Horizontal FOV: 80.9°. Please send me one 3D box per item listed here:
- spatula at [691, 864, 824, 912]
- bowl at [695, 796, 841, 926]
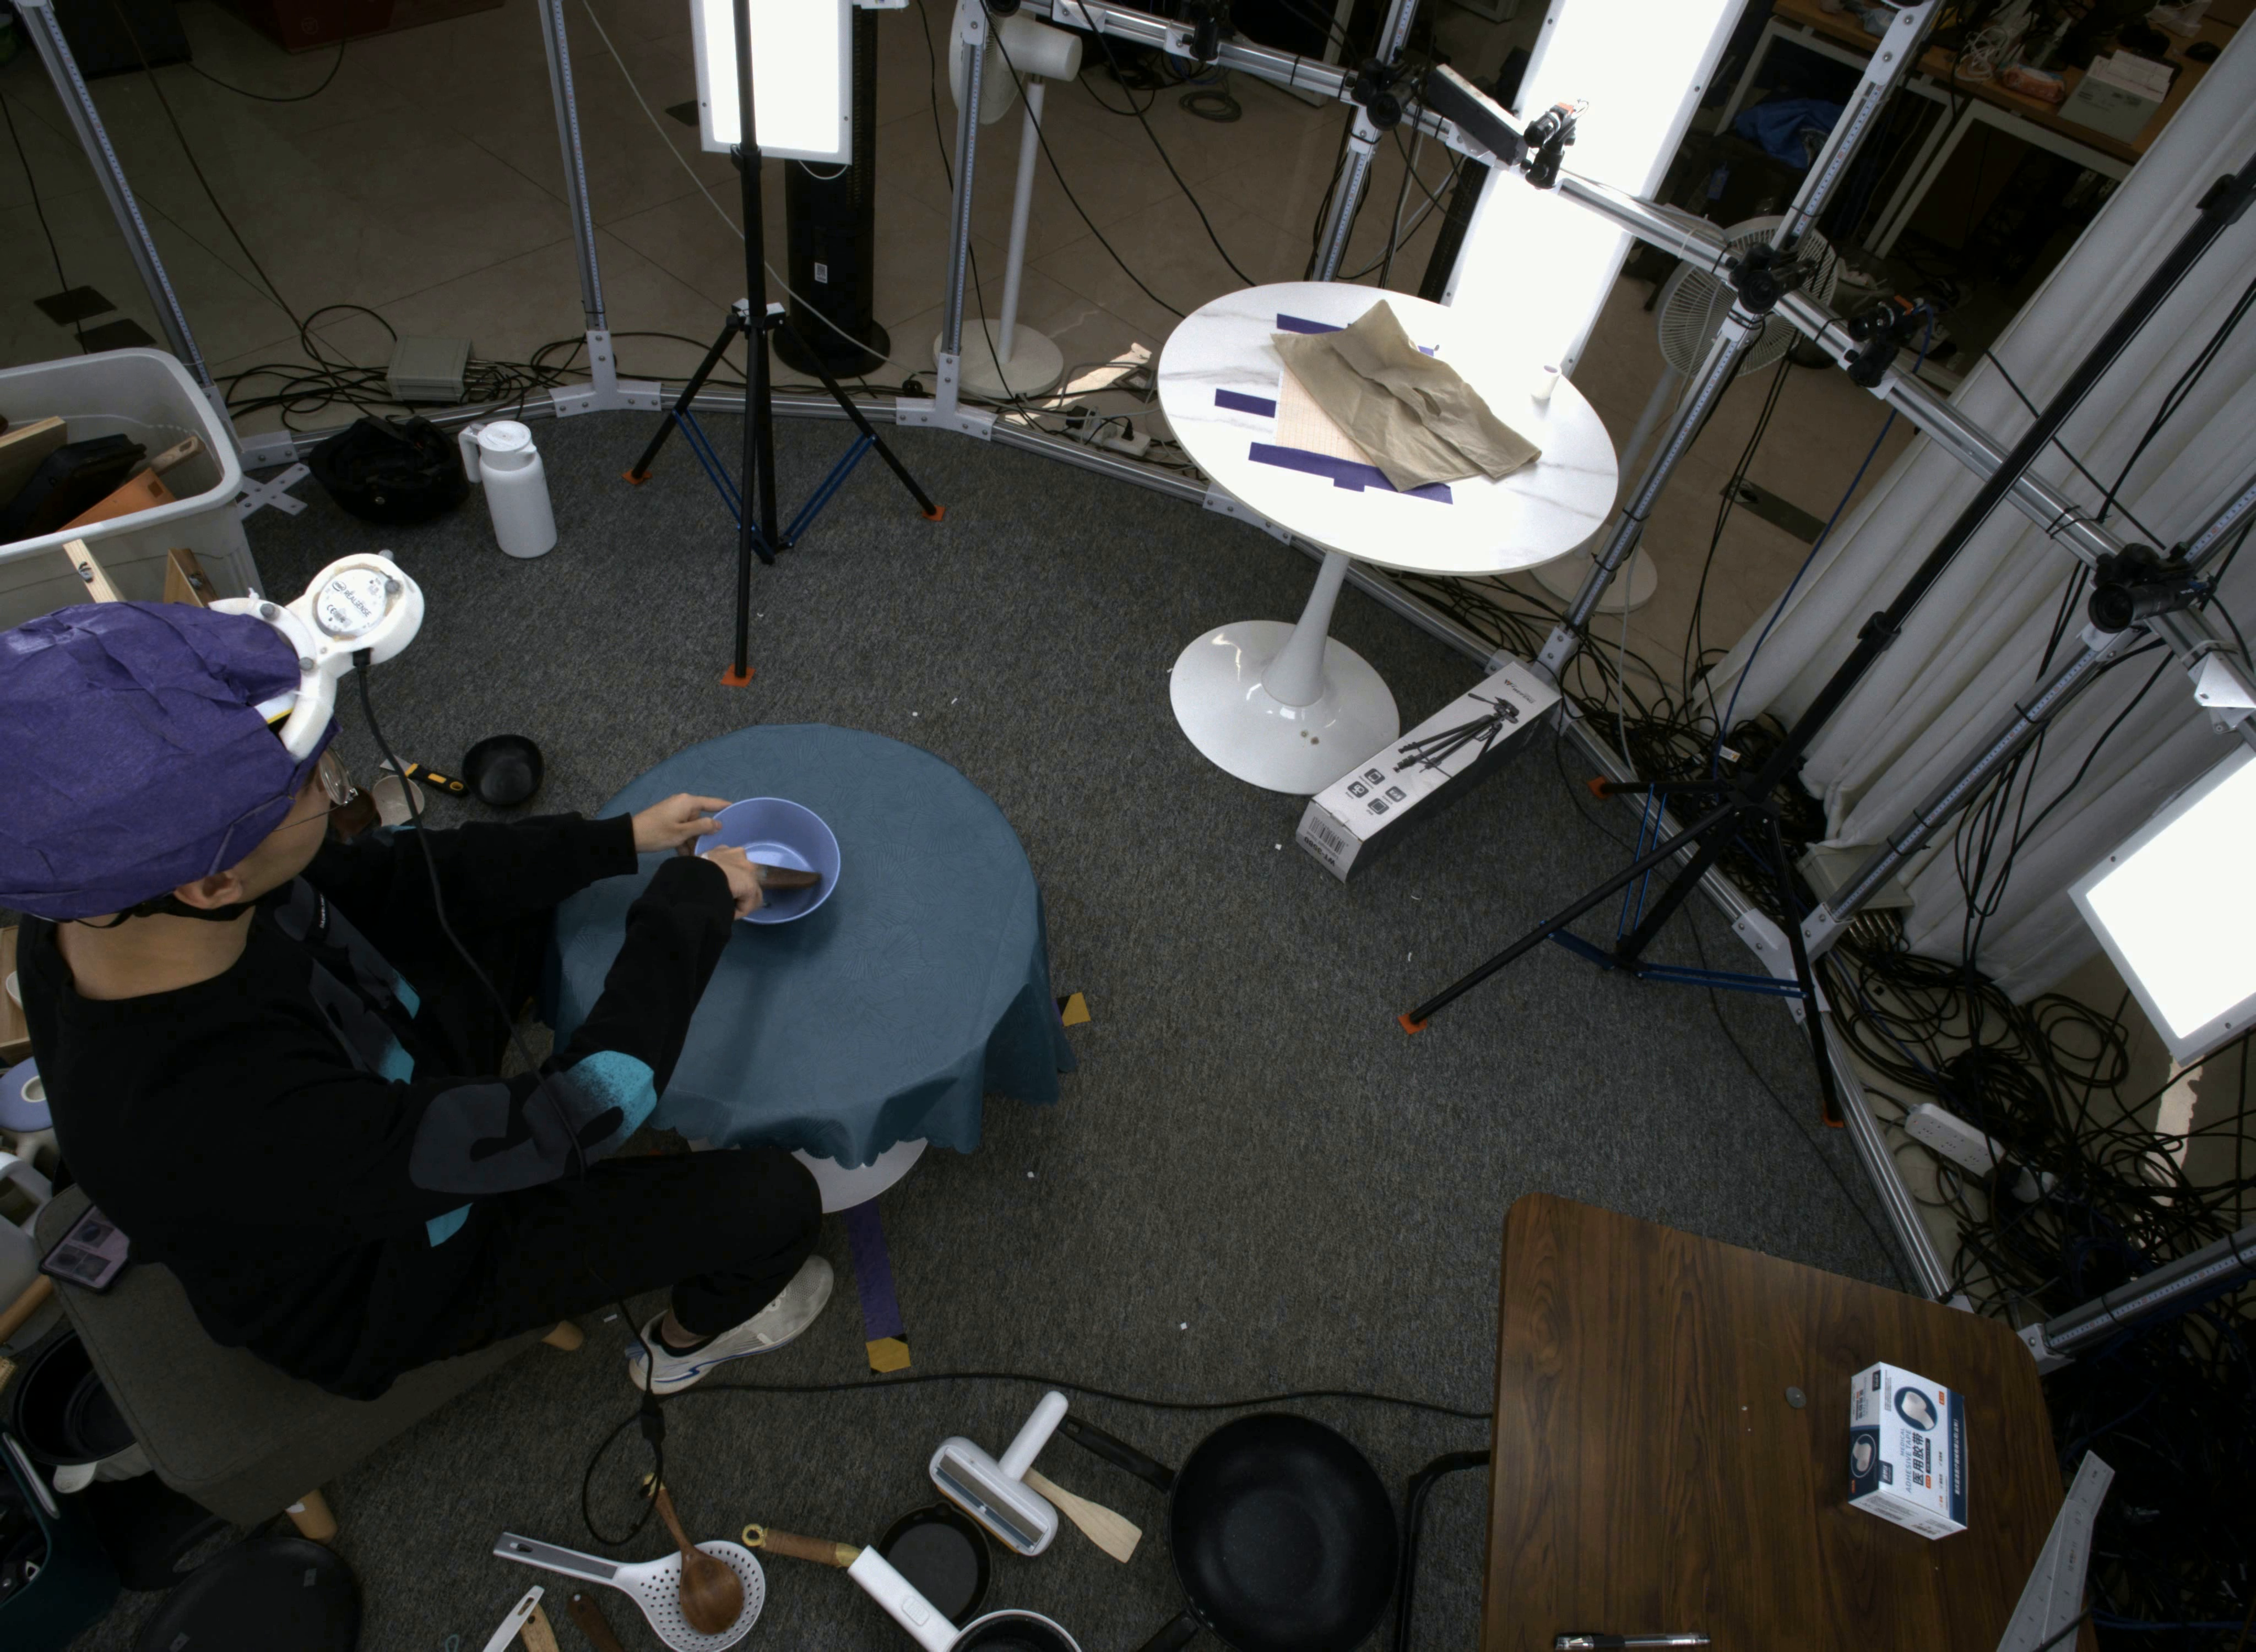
[{"bbox_3d":[-0.428,0.067,1.467,0.095,0.383,0.016,10,92,-2],"label":"spatula"},{"bbox_3d":[-0.453,0.054,1.627,0.177,0.070,0.174,10,61,-18],"label":"bowl"}]
